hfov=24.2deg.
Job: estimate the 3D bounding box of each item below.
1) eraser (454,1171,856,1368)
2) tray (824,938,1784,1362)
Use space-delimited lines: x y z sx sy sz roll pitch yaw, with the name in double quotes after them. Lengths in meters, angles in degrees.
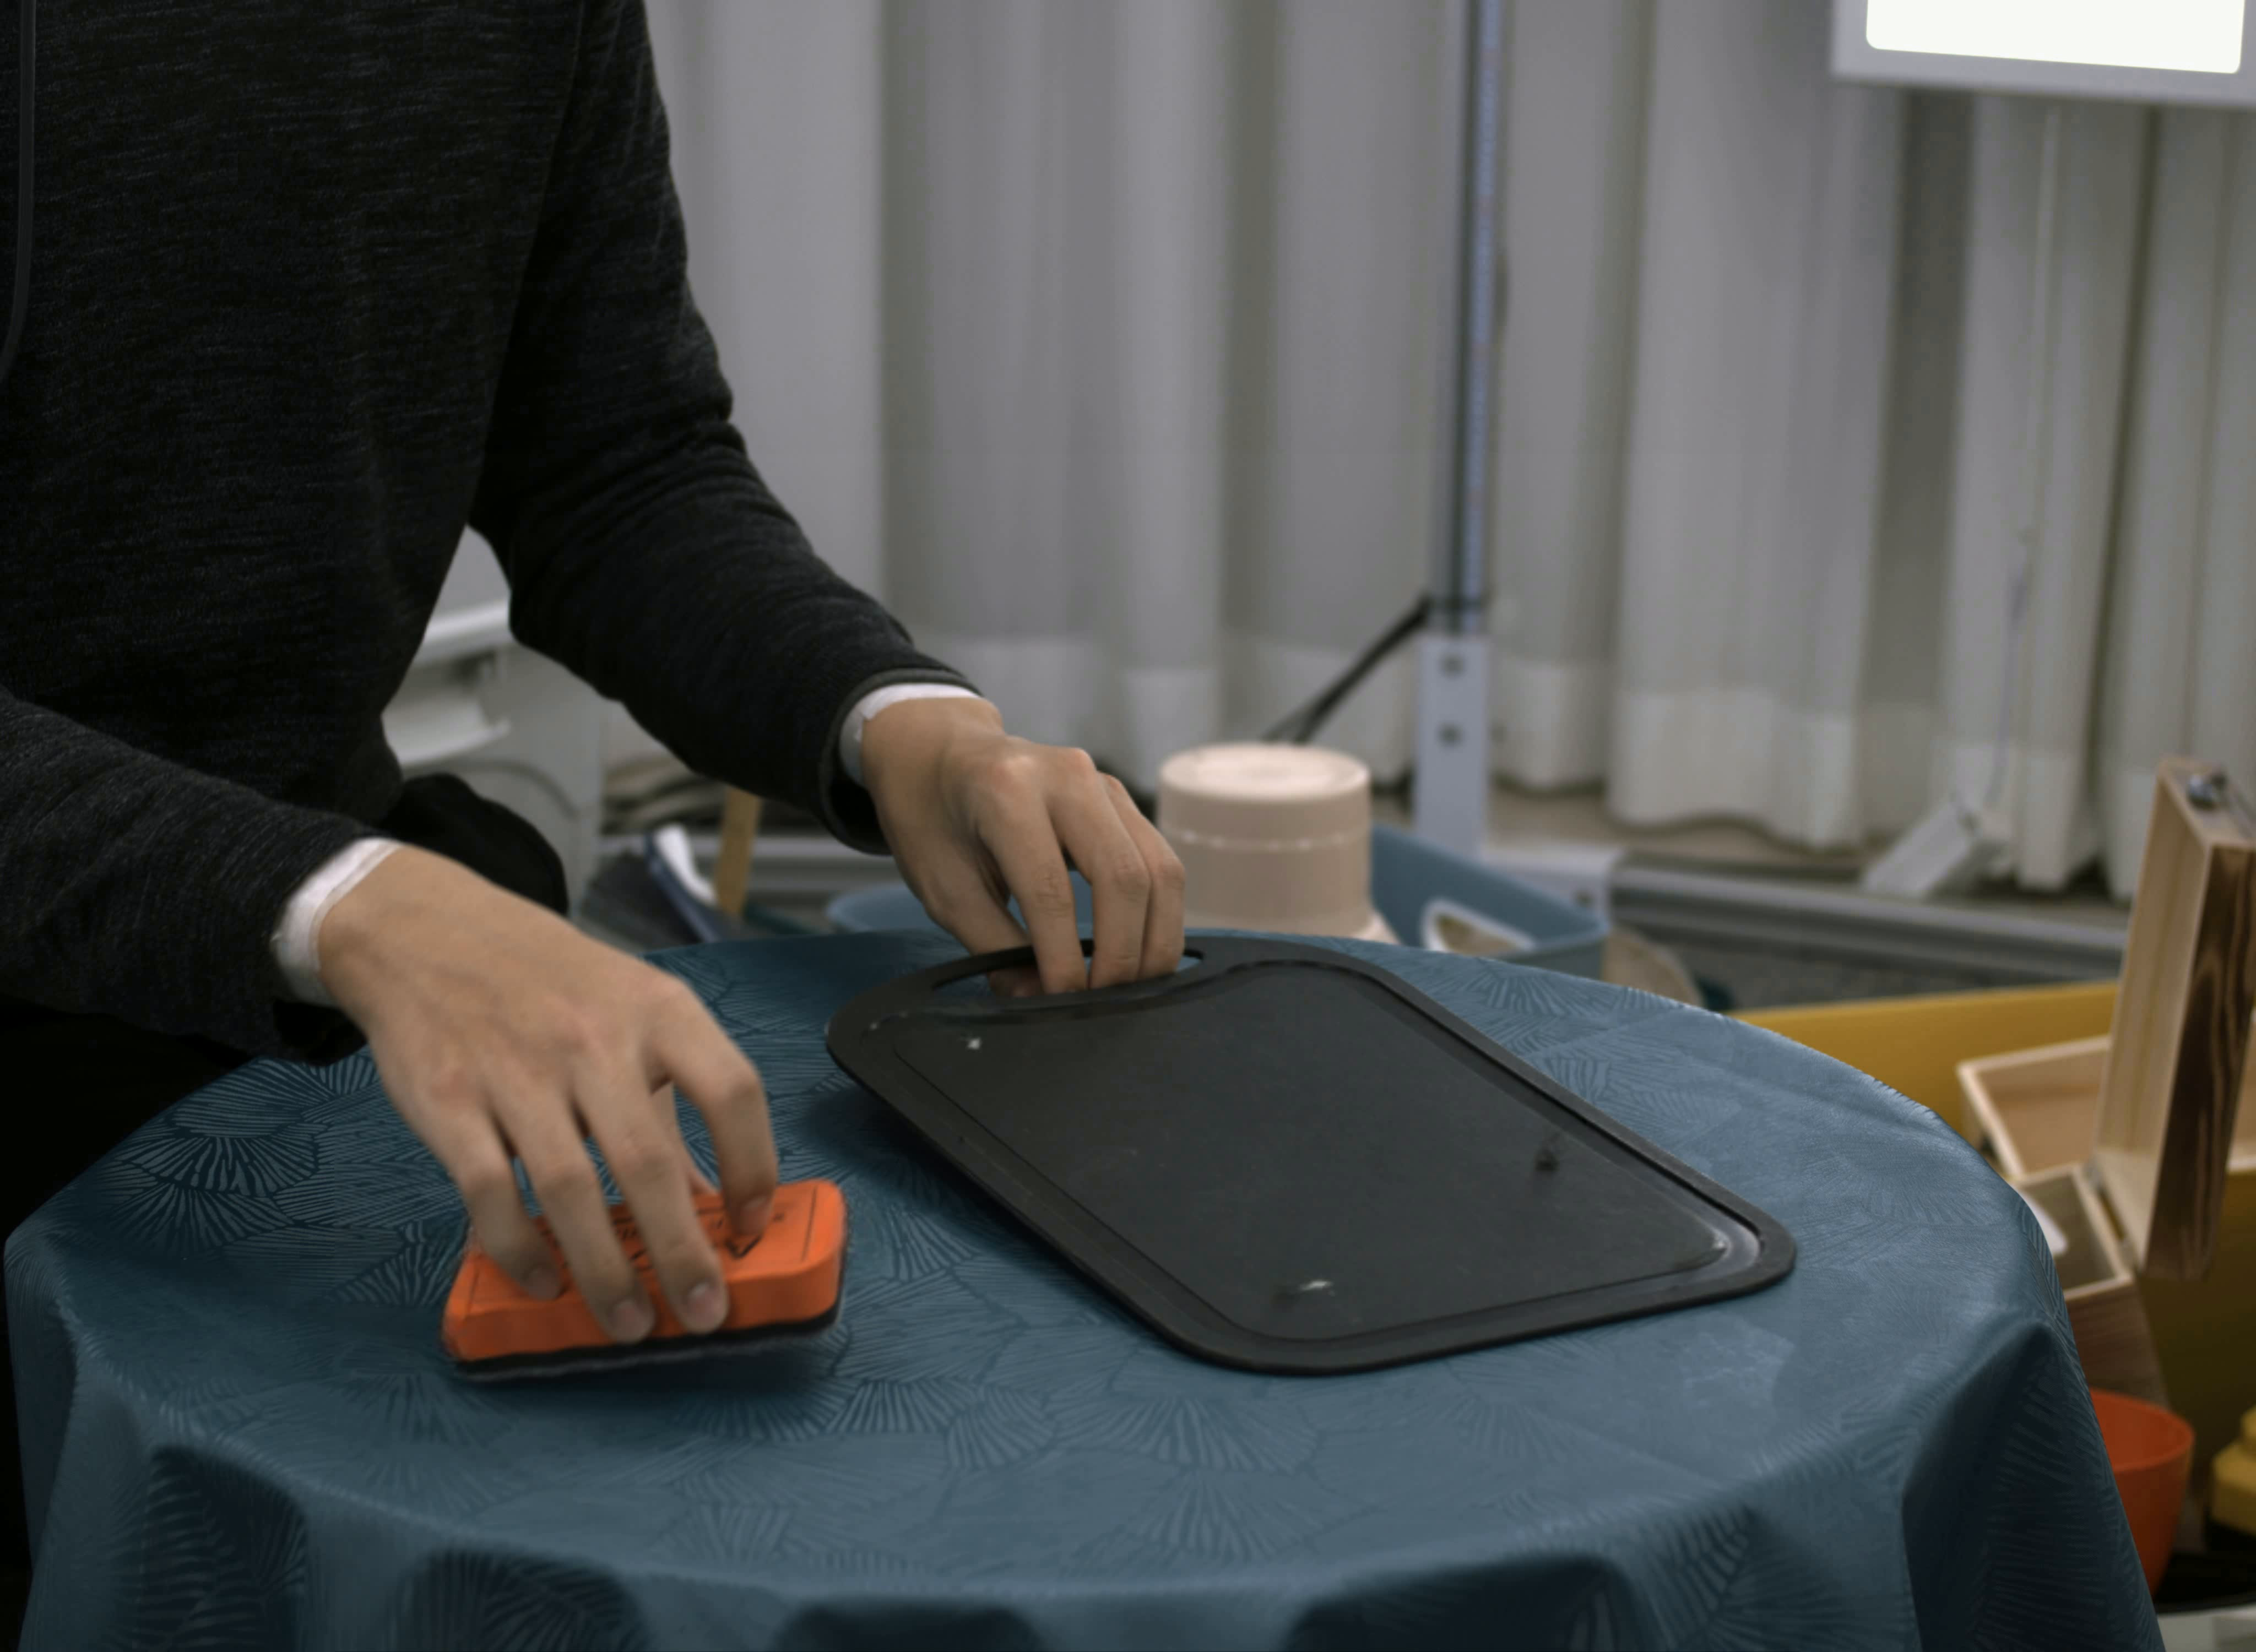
-0.132 0.124 1.472 0.107 0.023 0.058 -7 22 5 "eraser"
0.044 0.092 1.636 0.212 0.010 0.321 -7 22 -28 "tray"
